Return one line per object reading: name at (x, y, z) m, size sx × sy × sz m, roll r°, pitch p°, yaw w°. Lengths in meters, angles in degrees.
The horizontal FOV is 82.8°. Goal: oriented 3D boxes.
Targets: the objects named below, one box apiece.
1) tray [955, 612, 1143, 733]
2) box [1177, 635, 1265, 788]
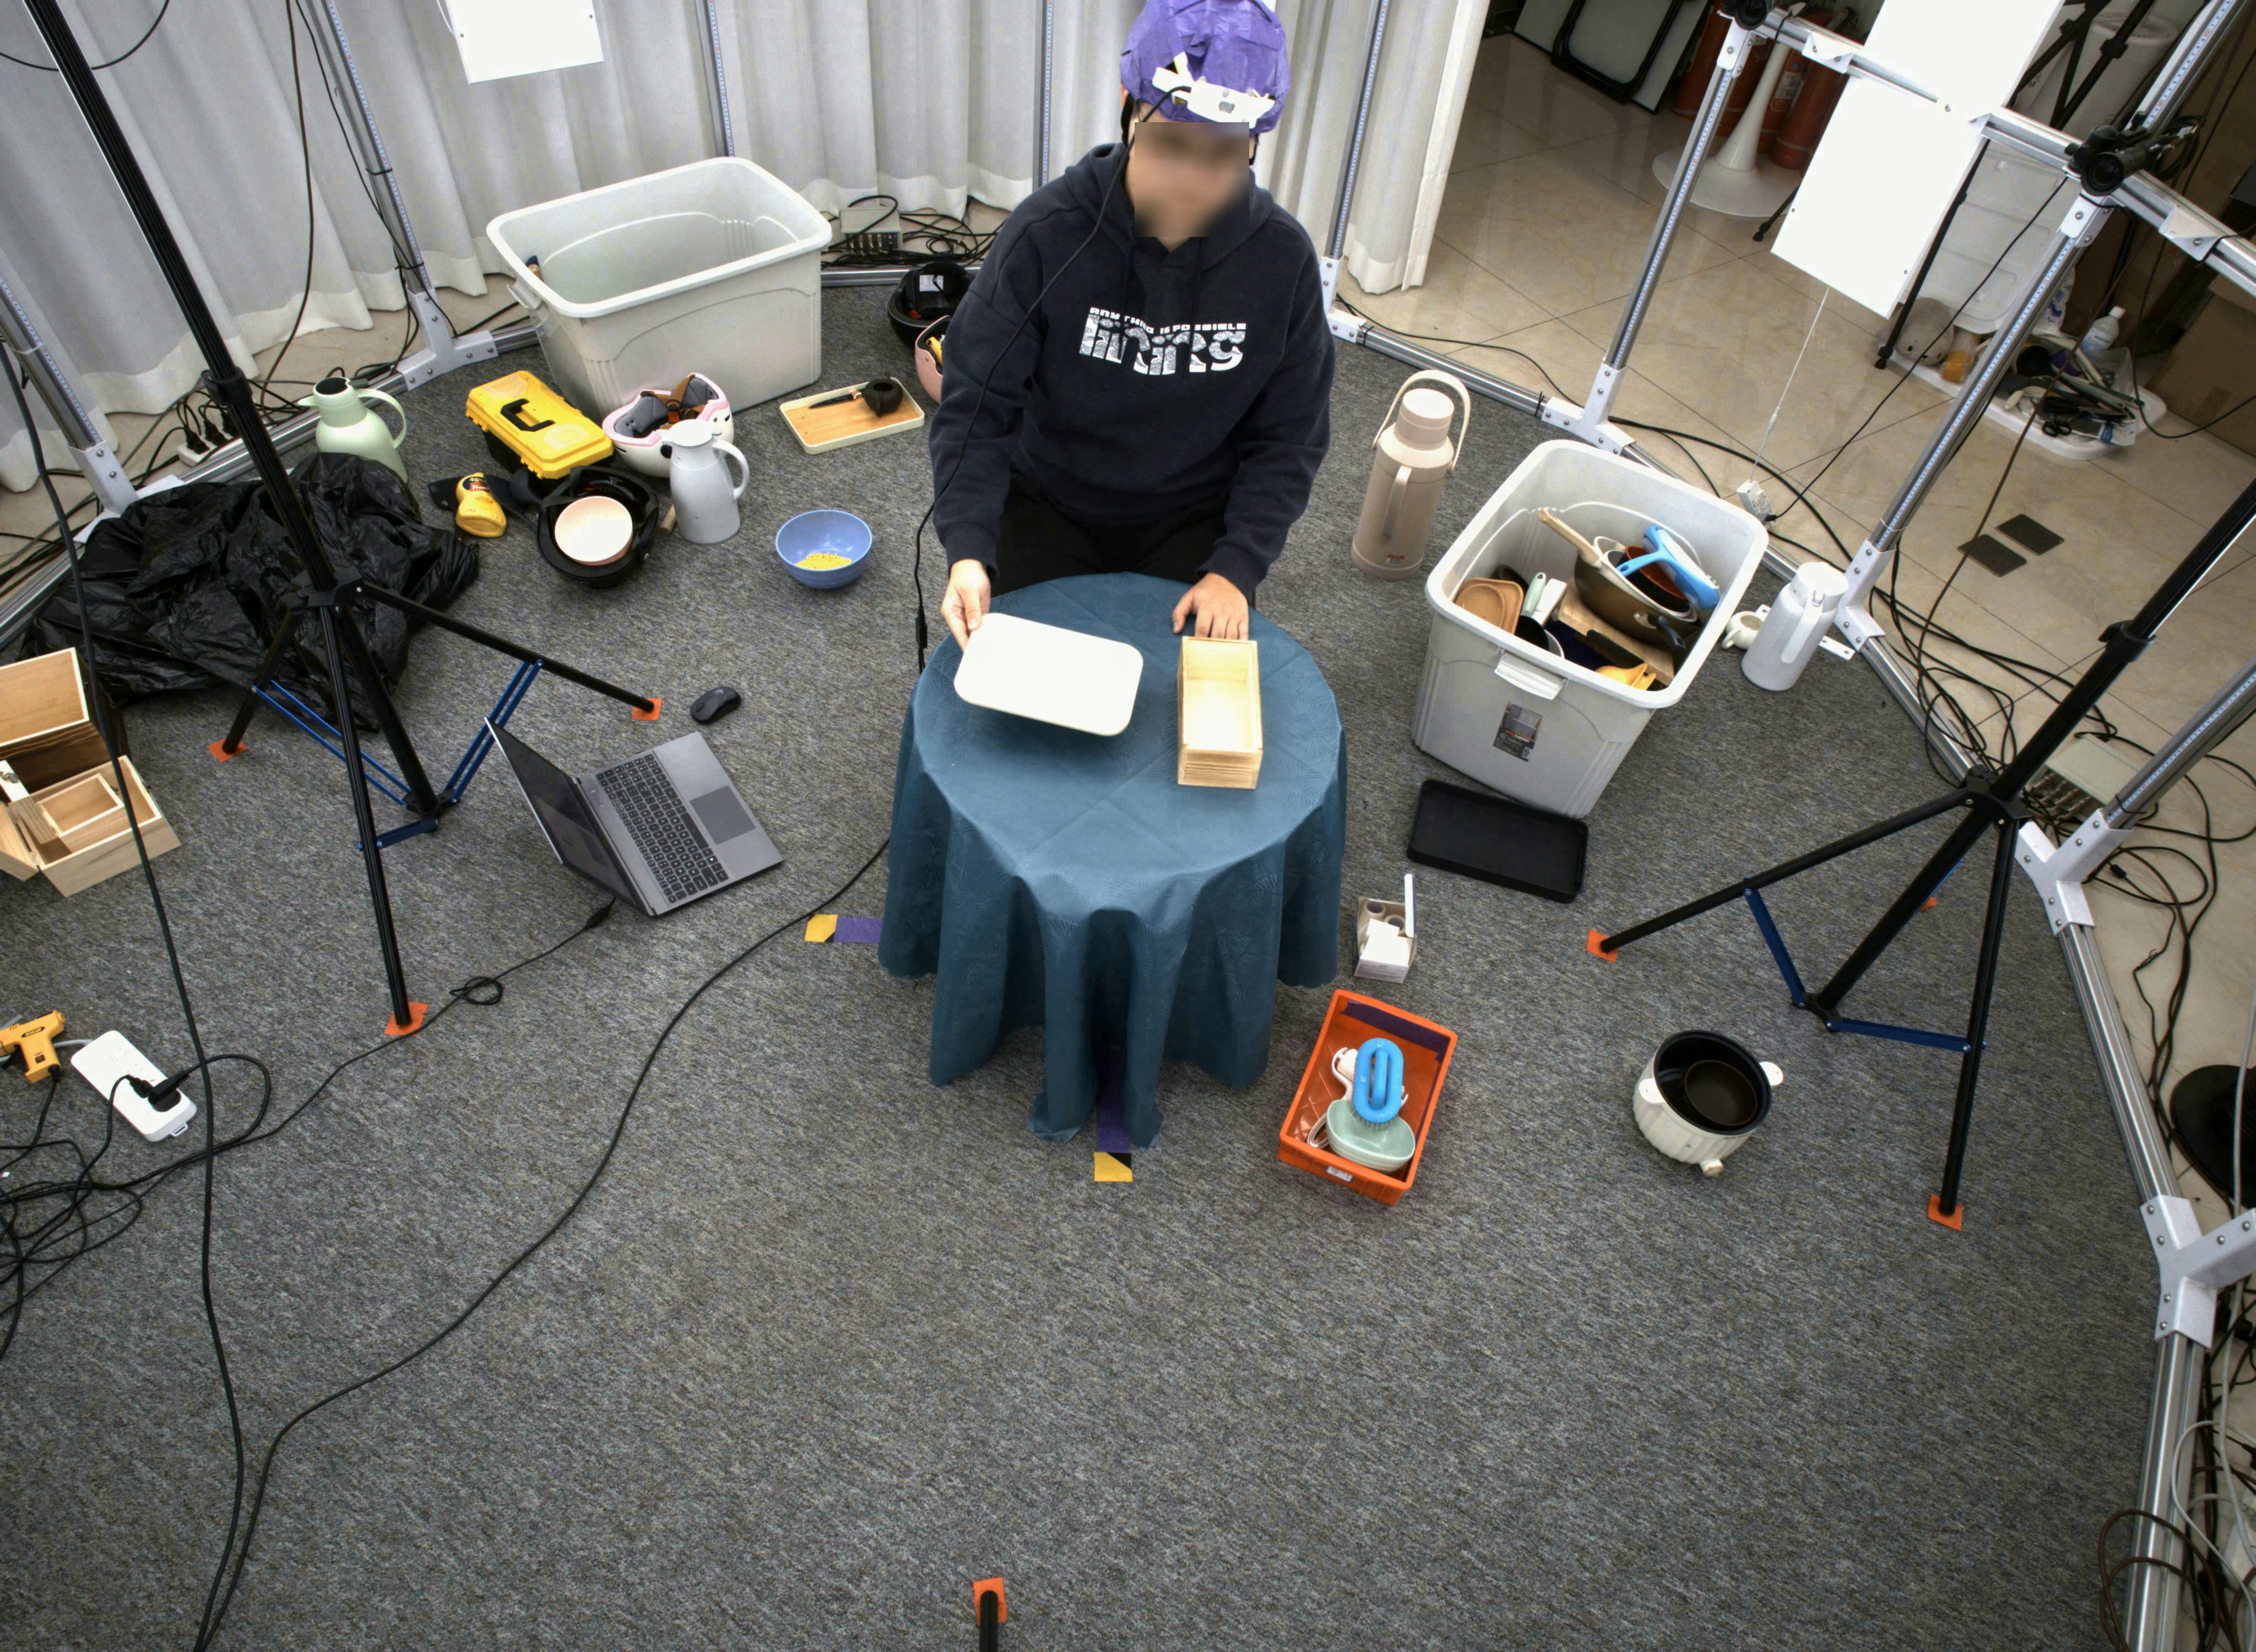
tray at (-0.105, -0.208, 1.743) m, size 0.239 × 0.017 × 0.175 m, roll 13°, pitch 50°, yaw 0°
box at (0.125, -0.159, 1.762) m, size 0.107 × 0.078 × 0.217 m, roll 3°, pitch 49°, yaw -2°
